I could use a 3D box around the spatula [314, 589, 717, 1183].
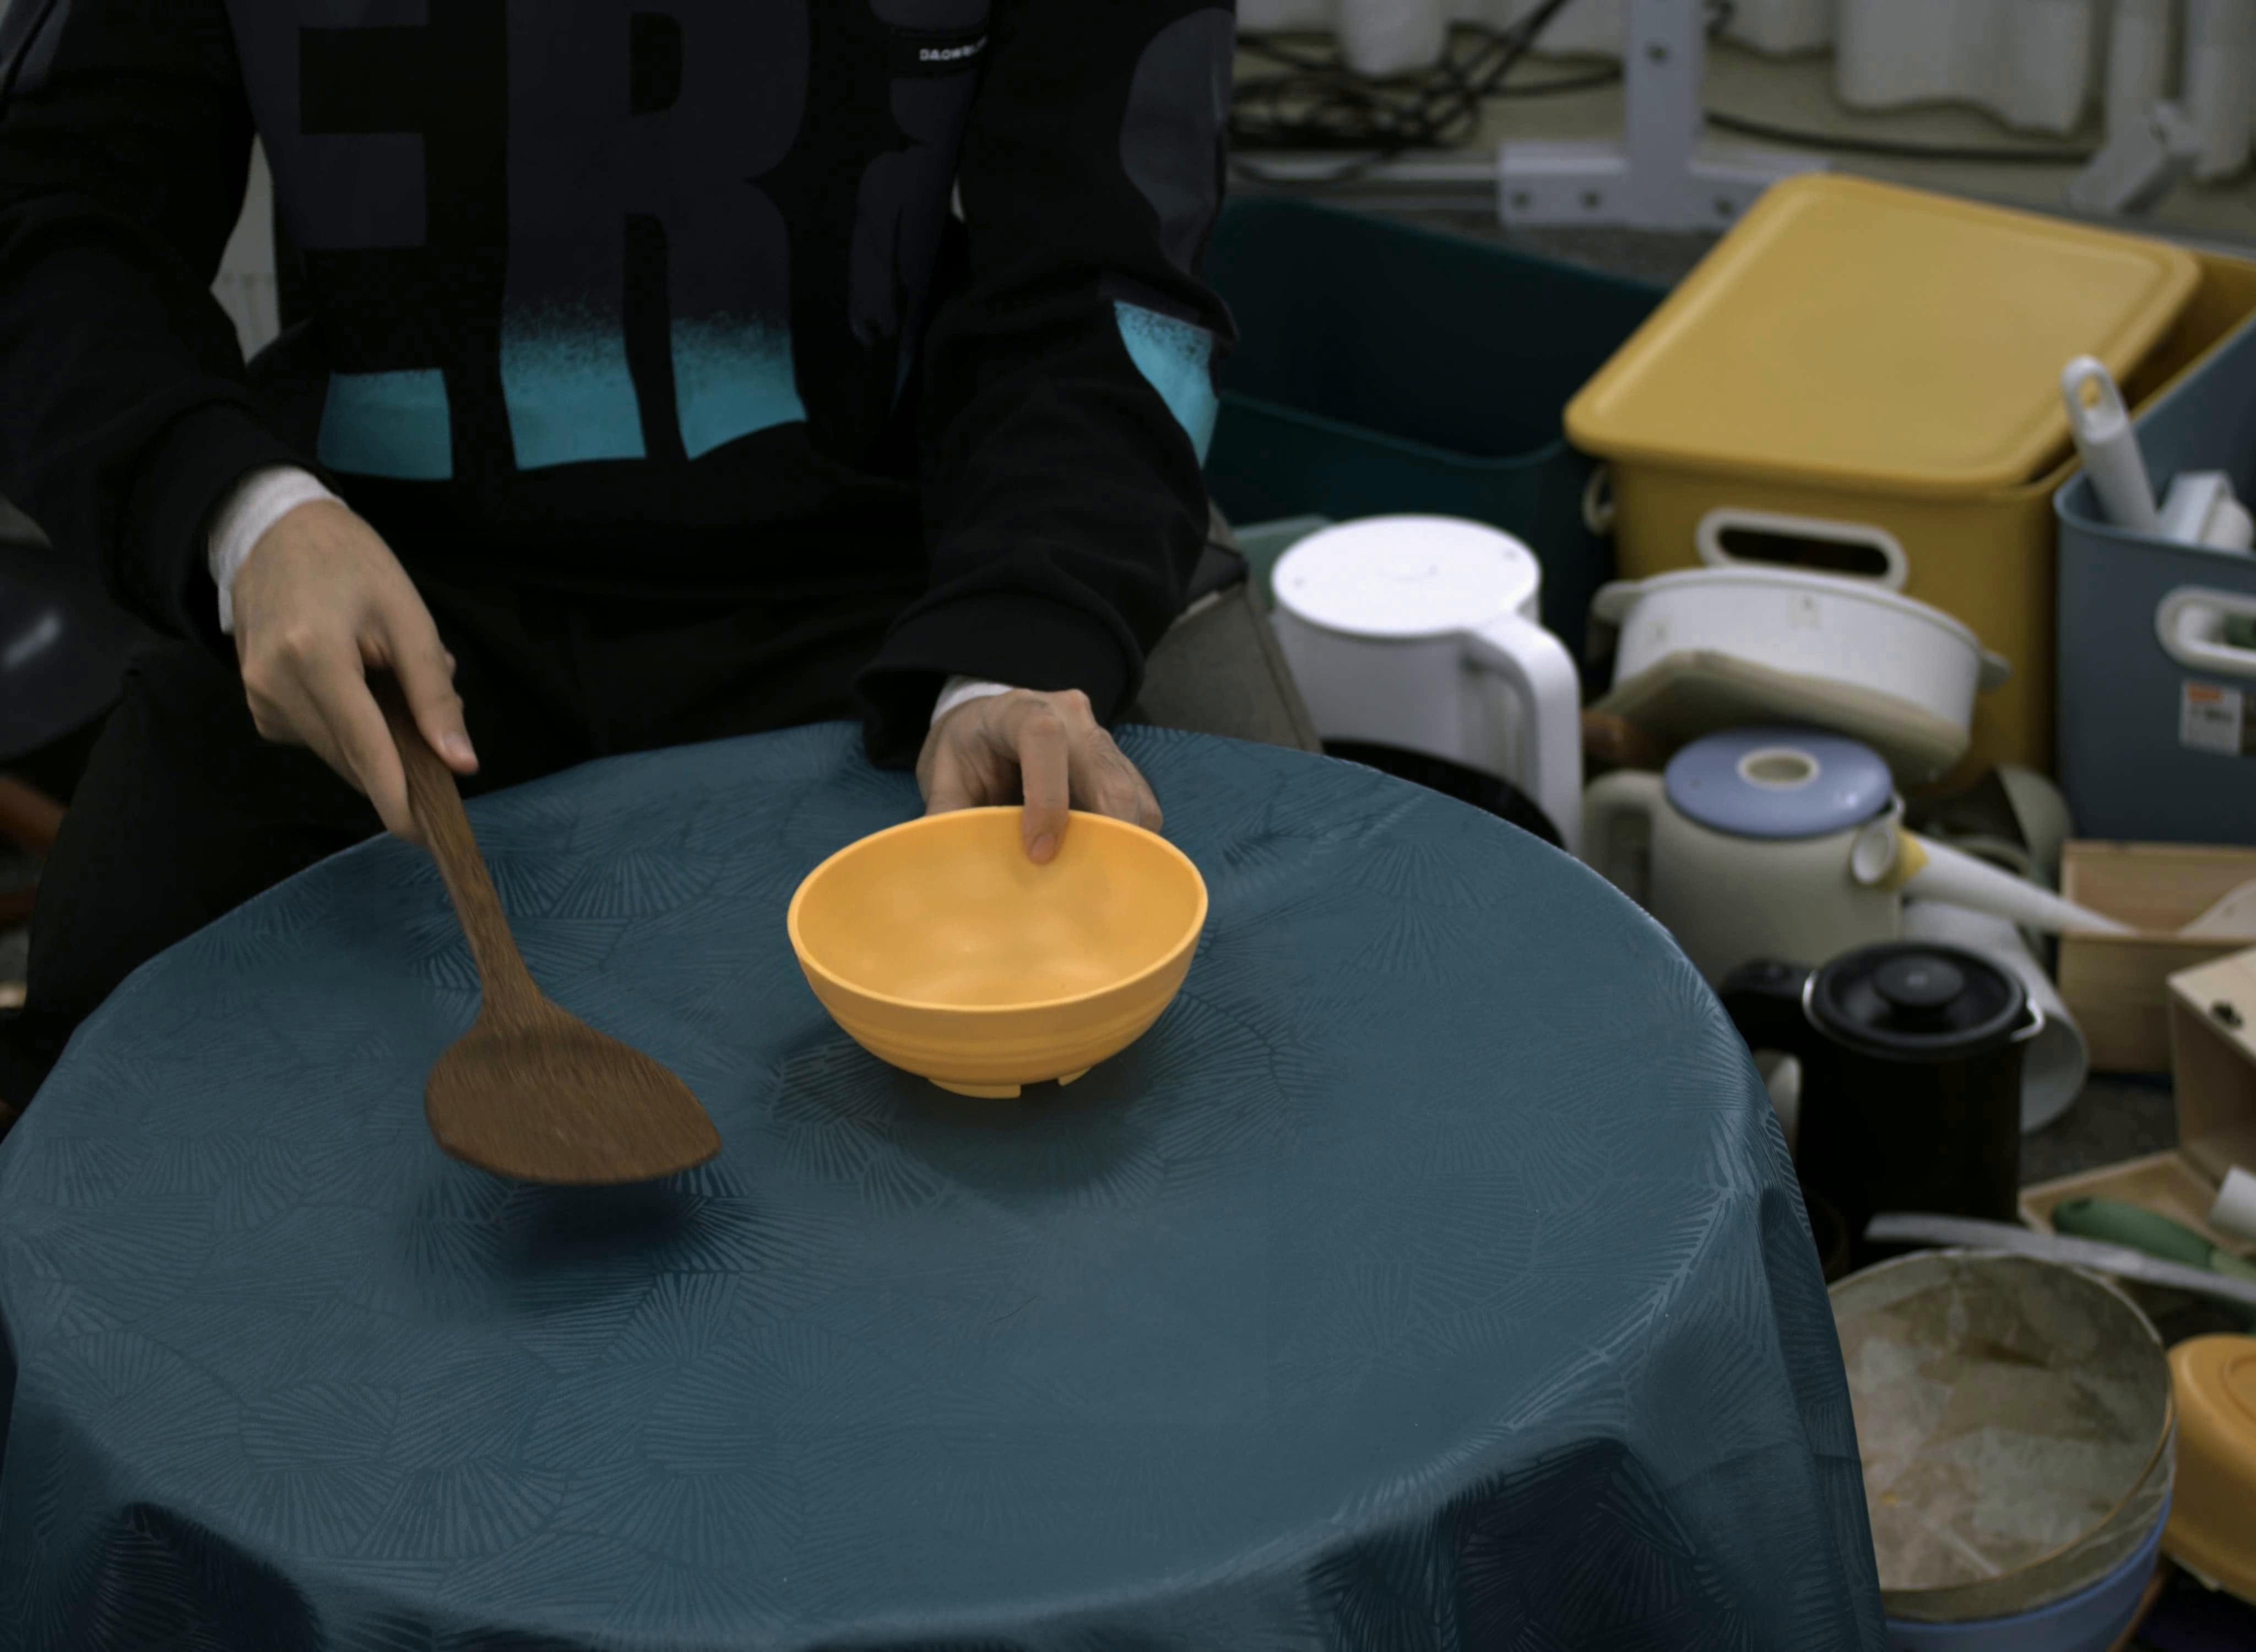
[{"bbox_3d":[-0.234,0.013,1.969,0.096,0.015,0.390,0,32,-22],"label":"spatula"}]

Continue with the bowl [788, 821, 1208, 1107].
[{"bbox_3d":[-0.044,0.055,1.935,0.144,0.059,0.147,-1,25,1],"label":"bowl"}]
